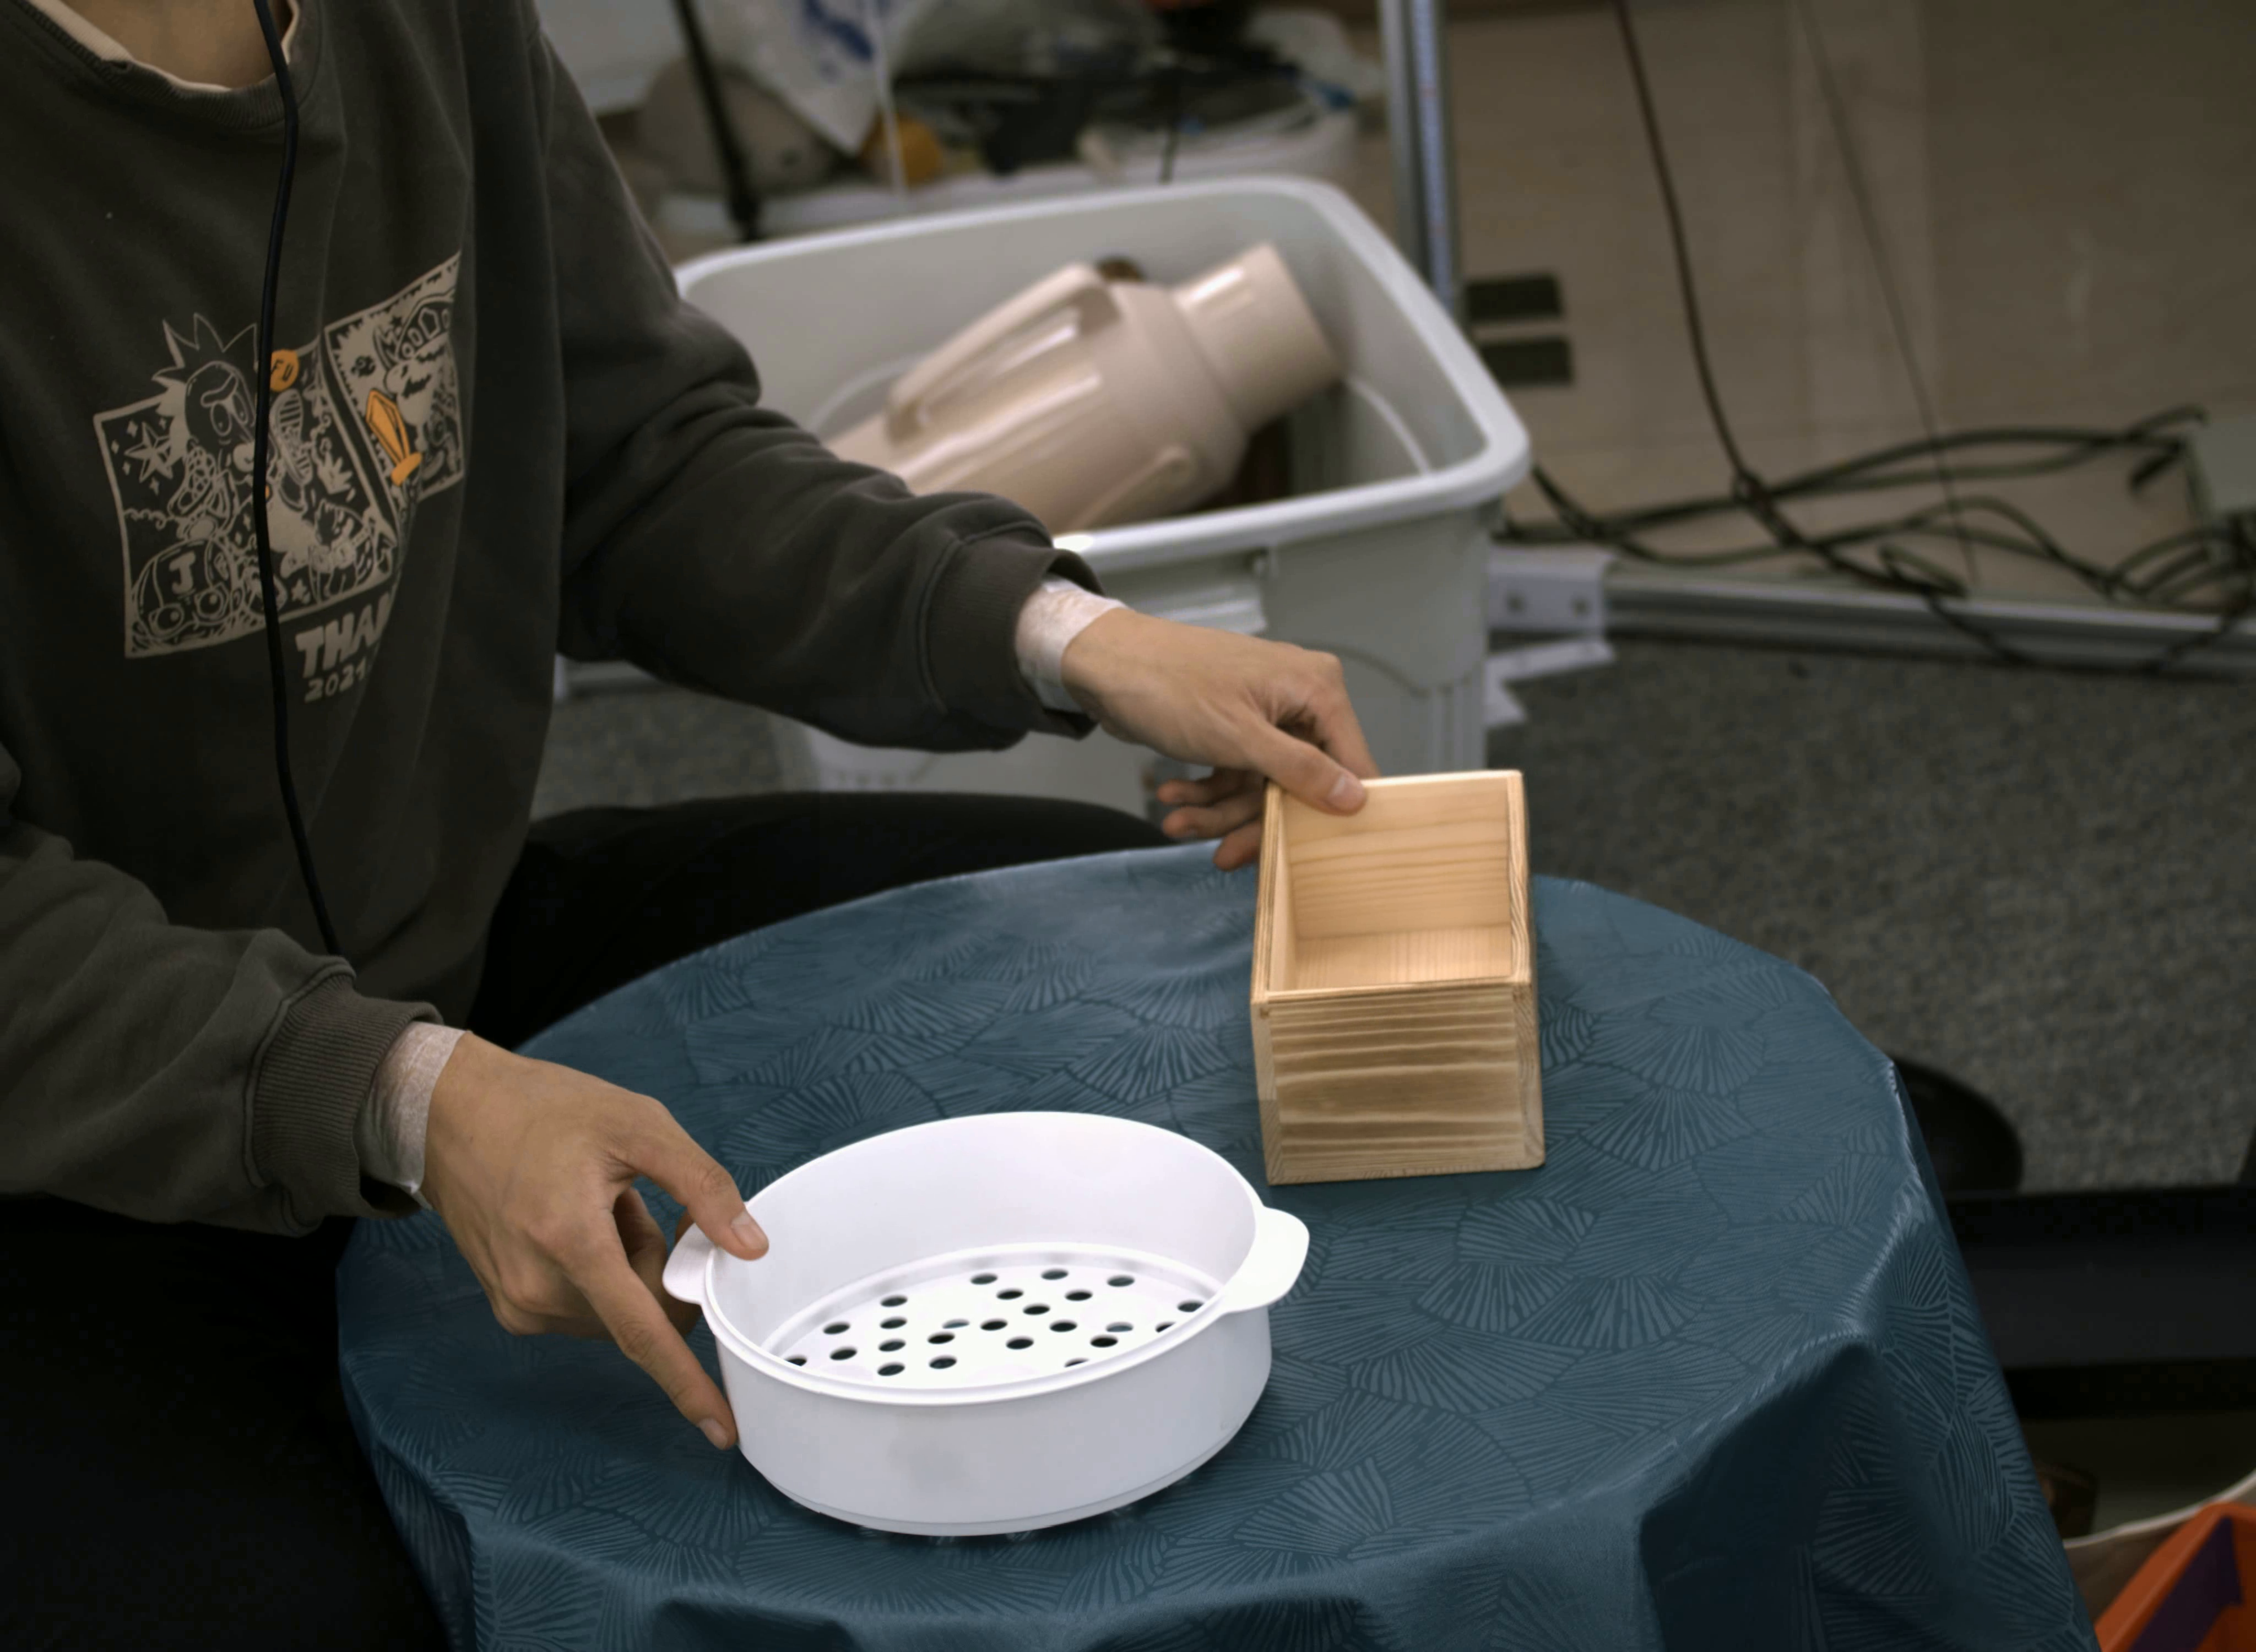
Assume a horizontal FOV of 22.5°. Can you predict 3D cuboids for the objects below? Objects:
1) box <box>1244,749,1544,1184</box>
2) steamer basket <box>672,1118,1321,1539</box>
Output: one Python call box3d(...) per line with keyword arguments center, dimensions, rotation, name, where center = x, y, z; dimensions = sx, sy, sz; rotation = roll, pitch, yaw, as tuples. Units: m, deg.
box3d(center=(0.106, 0.052, 2.209), dimensions=(0.107, 0.081, 0.208), rotation=(-5, 25, 6), name="box")
box3d(center=(-0.044, 0.176, 1.997), dimensions=(0.230, 0.070, 0.199), rotation=(-1, 25, 14), name="steamer basket")
